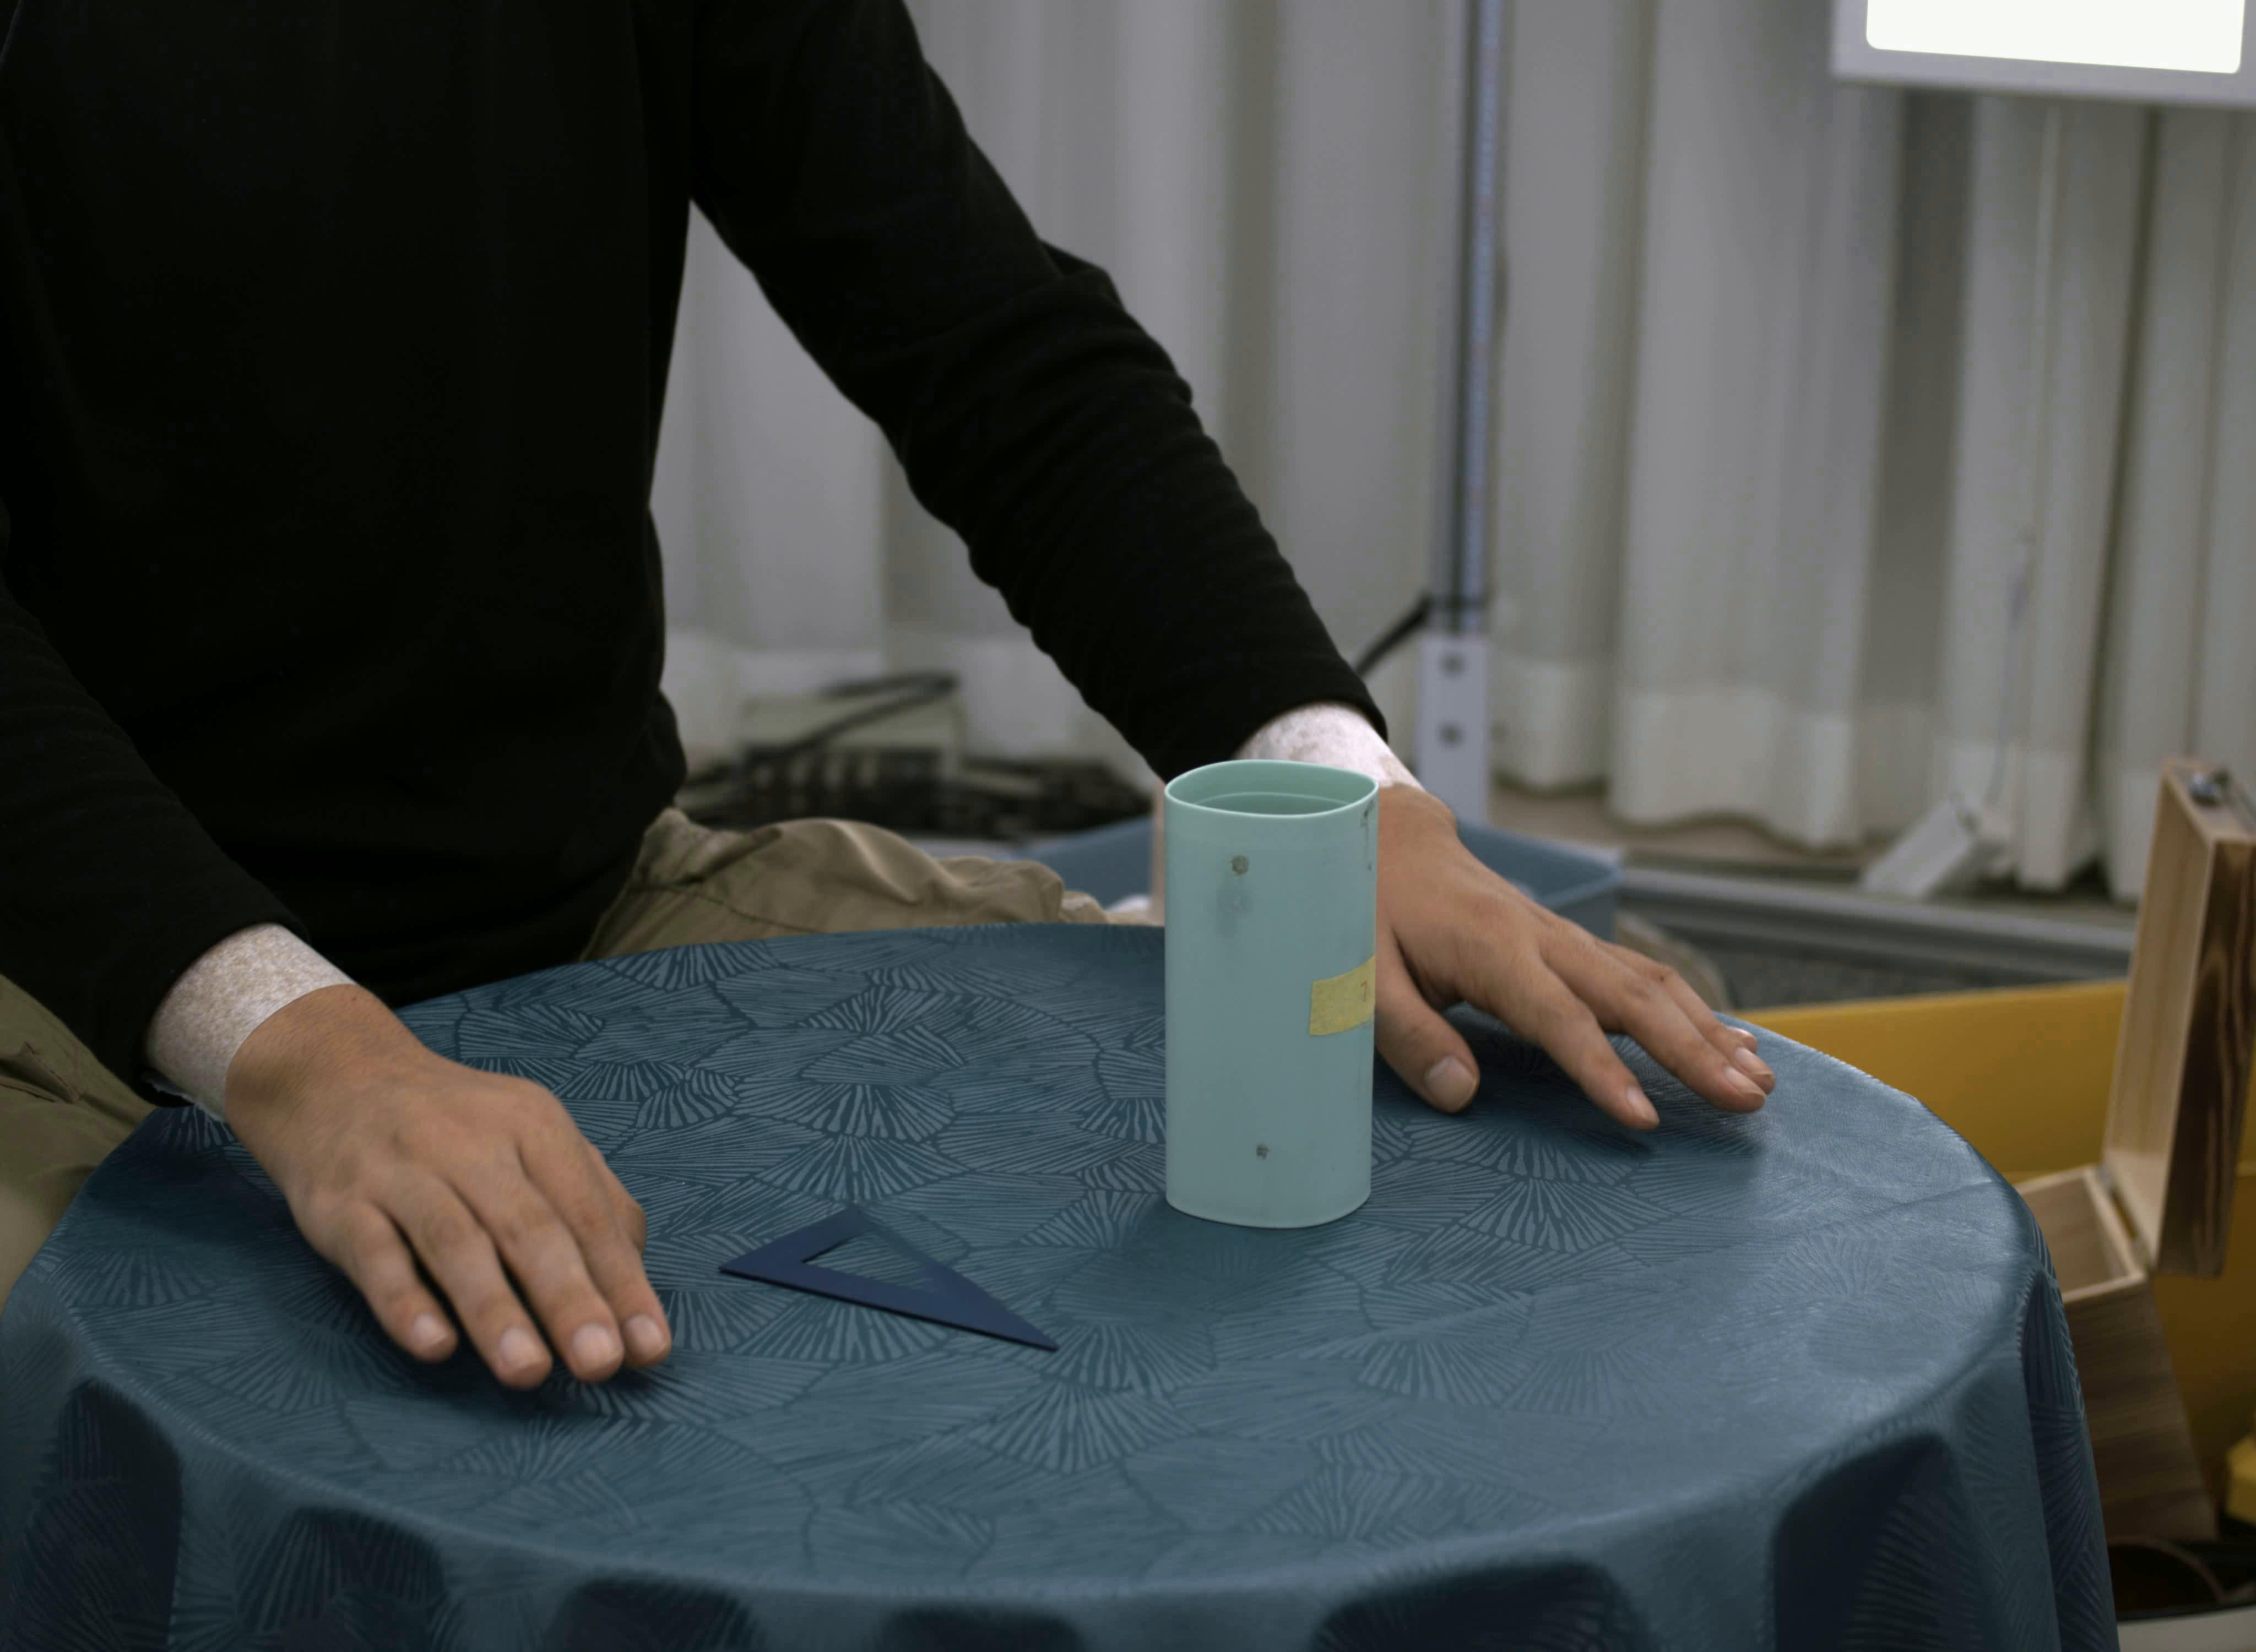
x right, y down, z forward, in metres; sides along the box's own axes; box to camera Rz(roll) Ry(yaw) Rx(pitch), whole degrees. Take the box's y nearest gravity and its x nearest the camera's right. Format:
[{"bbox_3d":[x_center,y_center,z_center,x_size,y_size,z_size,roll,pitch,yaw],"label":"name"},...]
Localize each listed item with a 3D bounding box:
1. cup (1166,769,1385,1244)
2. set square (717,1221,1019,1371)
[{"bbox_3d":[0.043,0.054,1.601,0.066,0.133,0.066,1,17,0],"label":"cup"},{"bbox_3d":[-0.079,0.137,1.522,0.061,0.006,0.130,-4,16,-23],"label":"set square"}]
